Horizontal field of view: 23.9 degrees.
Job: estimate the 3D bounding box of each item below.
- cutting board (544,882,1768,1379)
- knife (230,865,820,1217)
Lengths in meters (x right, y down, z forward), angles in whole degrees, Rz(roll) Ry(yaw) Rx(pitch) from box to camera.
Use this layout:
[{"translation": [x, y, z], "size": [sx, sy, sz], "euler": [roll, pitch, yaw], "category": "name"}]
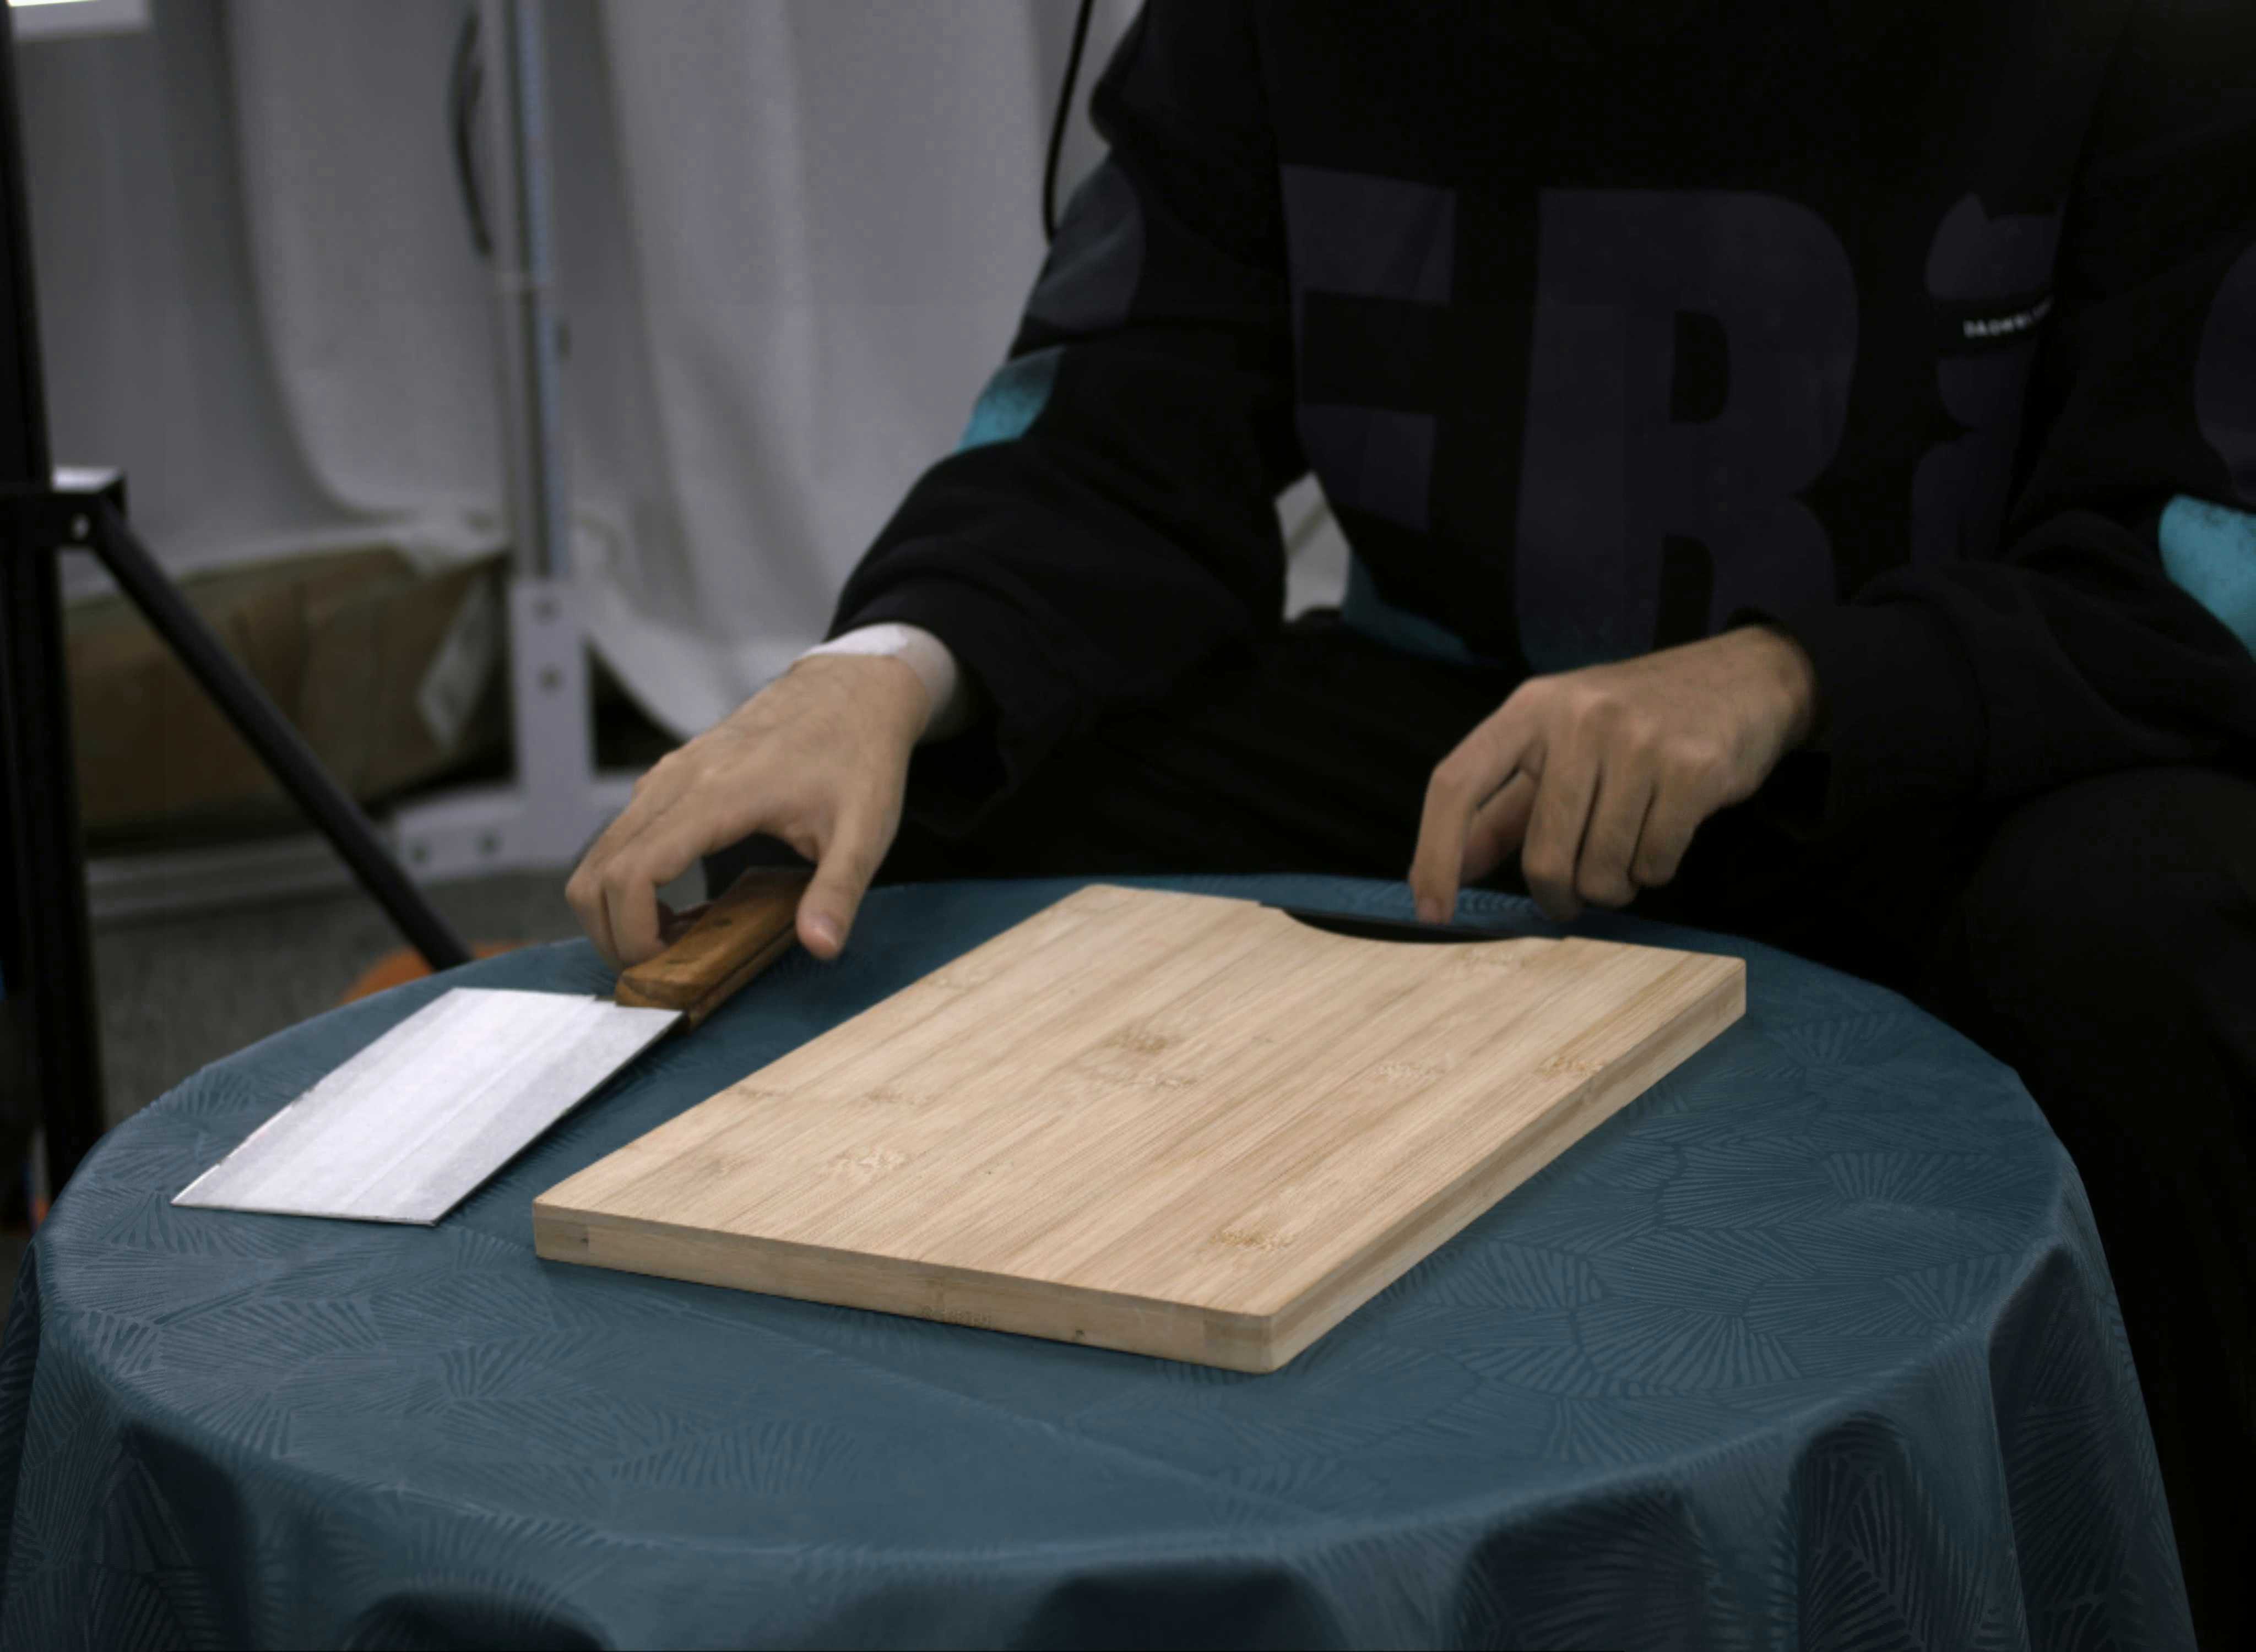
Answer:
[{"translation": [0.017, 0.083, 1.612], "size": [0.255, 0.023, 0.343], "euler": [6, 18, 28], "category": "cutting board"}, {"translation": [-0.191, 0.067, 1.707], "size": [0.094, 0.021, 0.302], "euler": [2, 19, 21], "category": "knife"}]
